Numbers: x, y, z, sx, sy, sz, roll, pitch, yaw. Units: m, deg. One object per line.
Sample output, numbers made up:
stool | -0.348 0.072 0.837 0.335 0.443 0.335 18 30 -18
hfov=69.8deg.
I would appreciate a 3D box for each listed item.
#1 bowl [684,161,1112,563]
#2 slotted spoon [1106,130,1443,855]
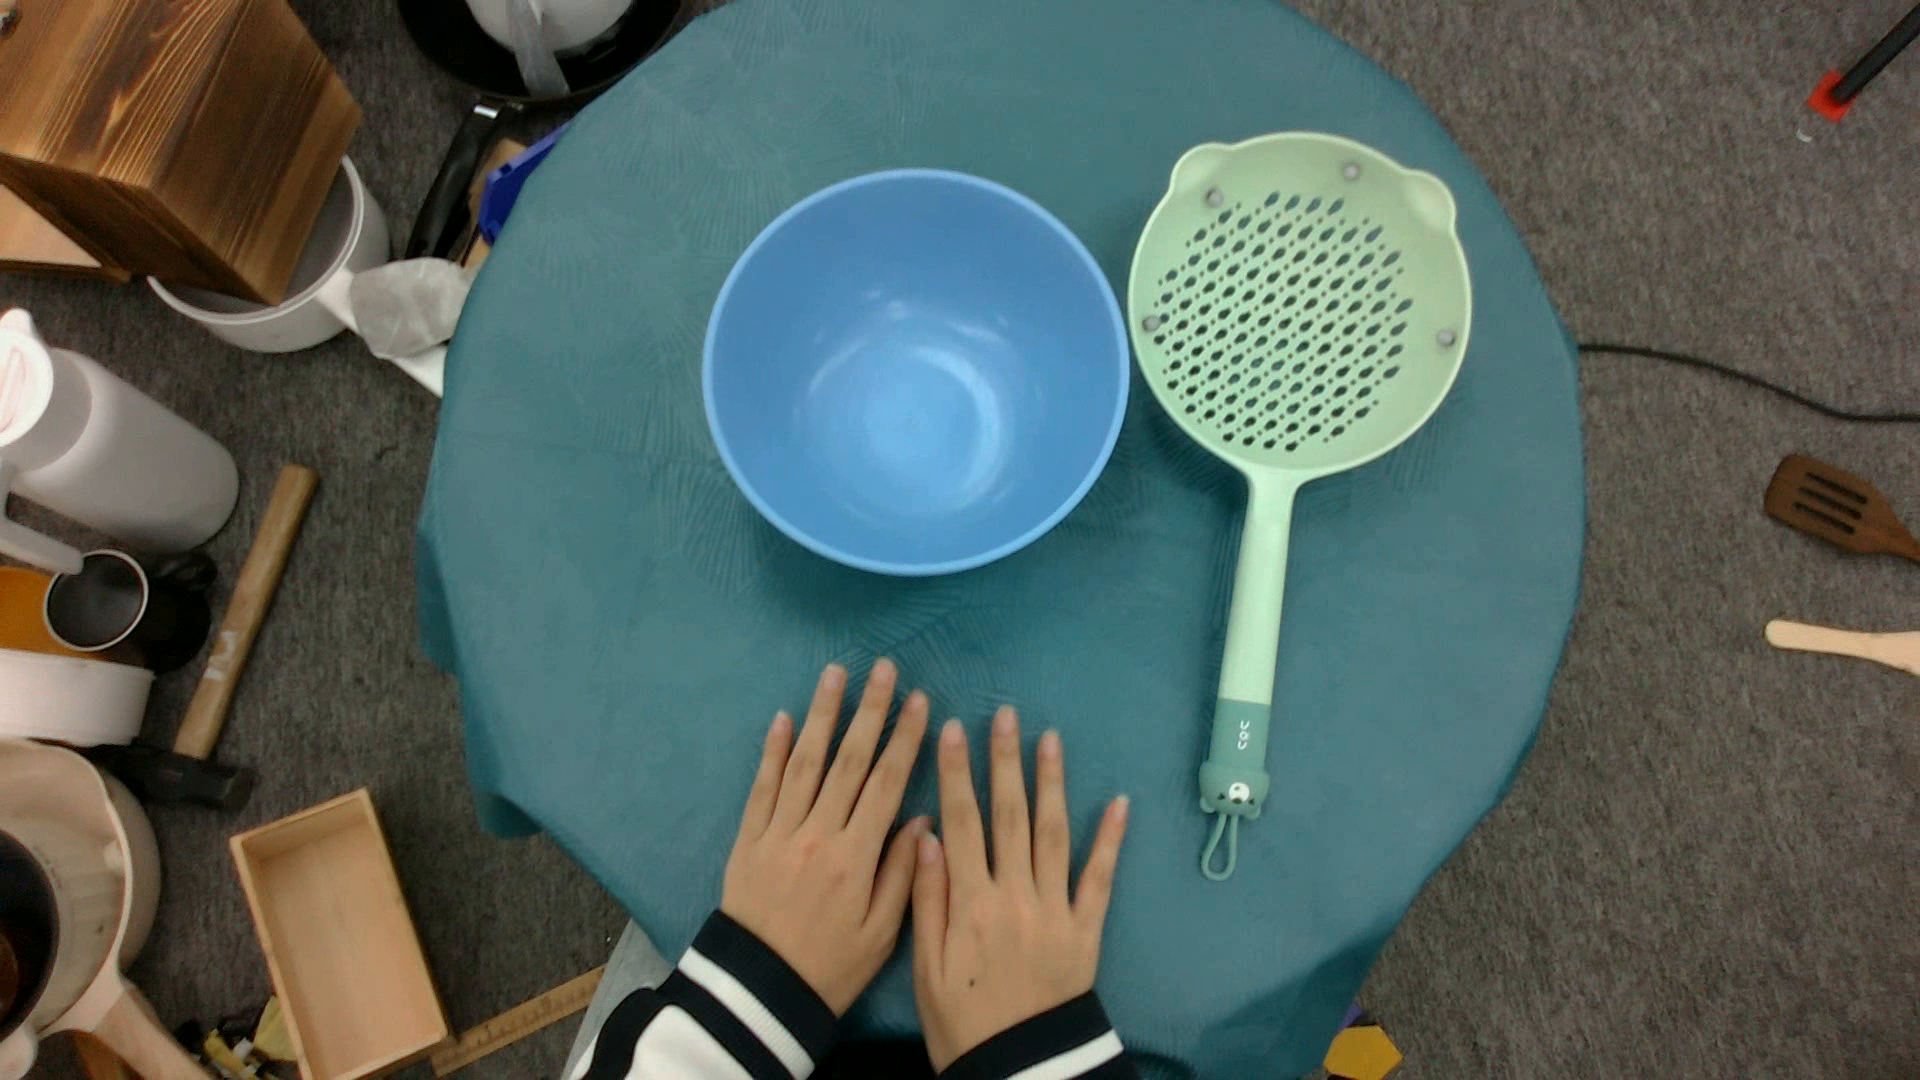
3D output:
bowl | -0.029 -0.074 0.674 0.196 0.095 0.197 1 75 -2
slotted spoon | 0.143 -0.025 0.687 0.169 0.075 0.359 8 76 1
